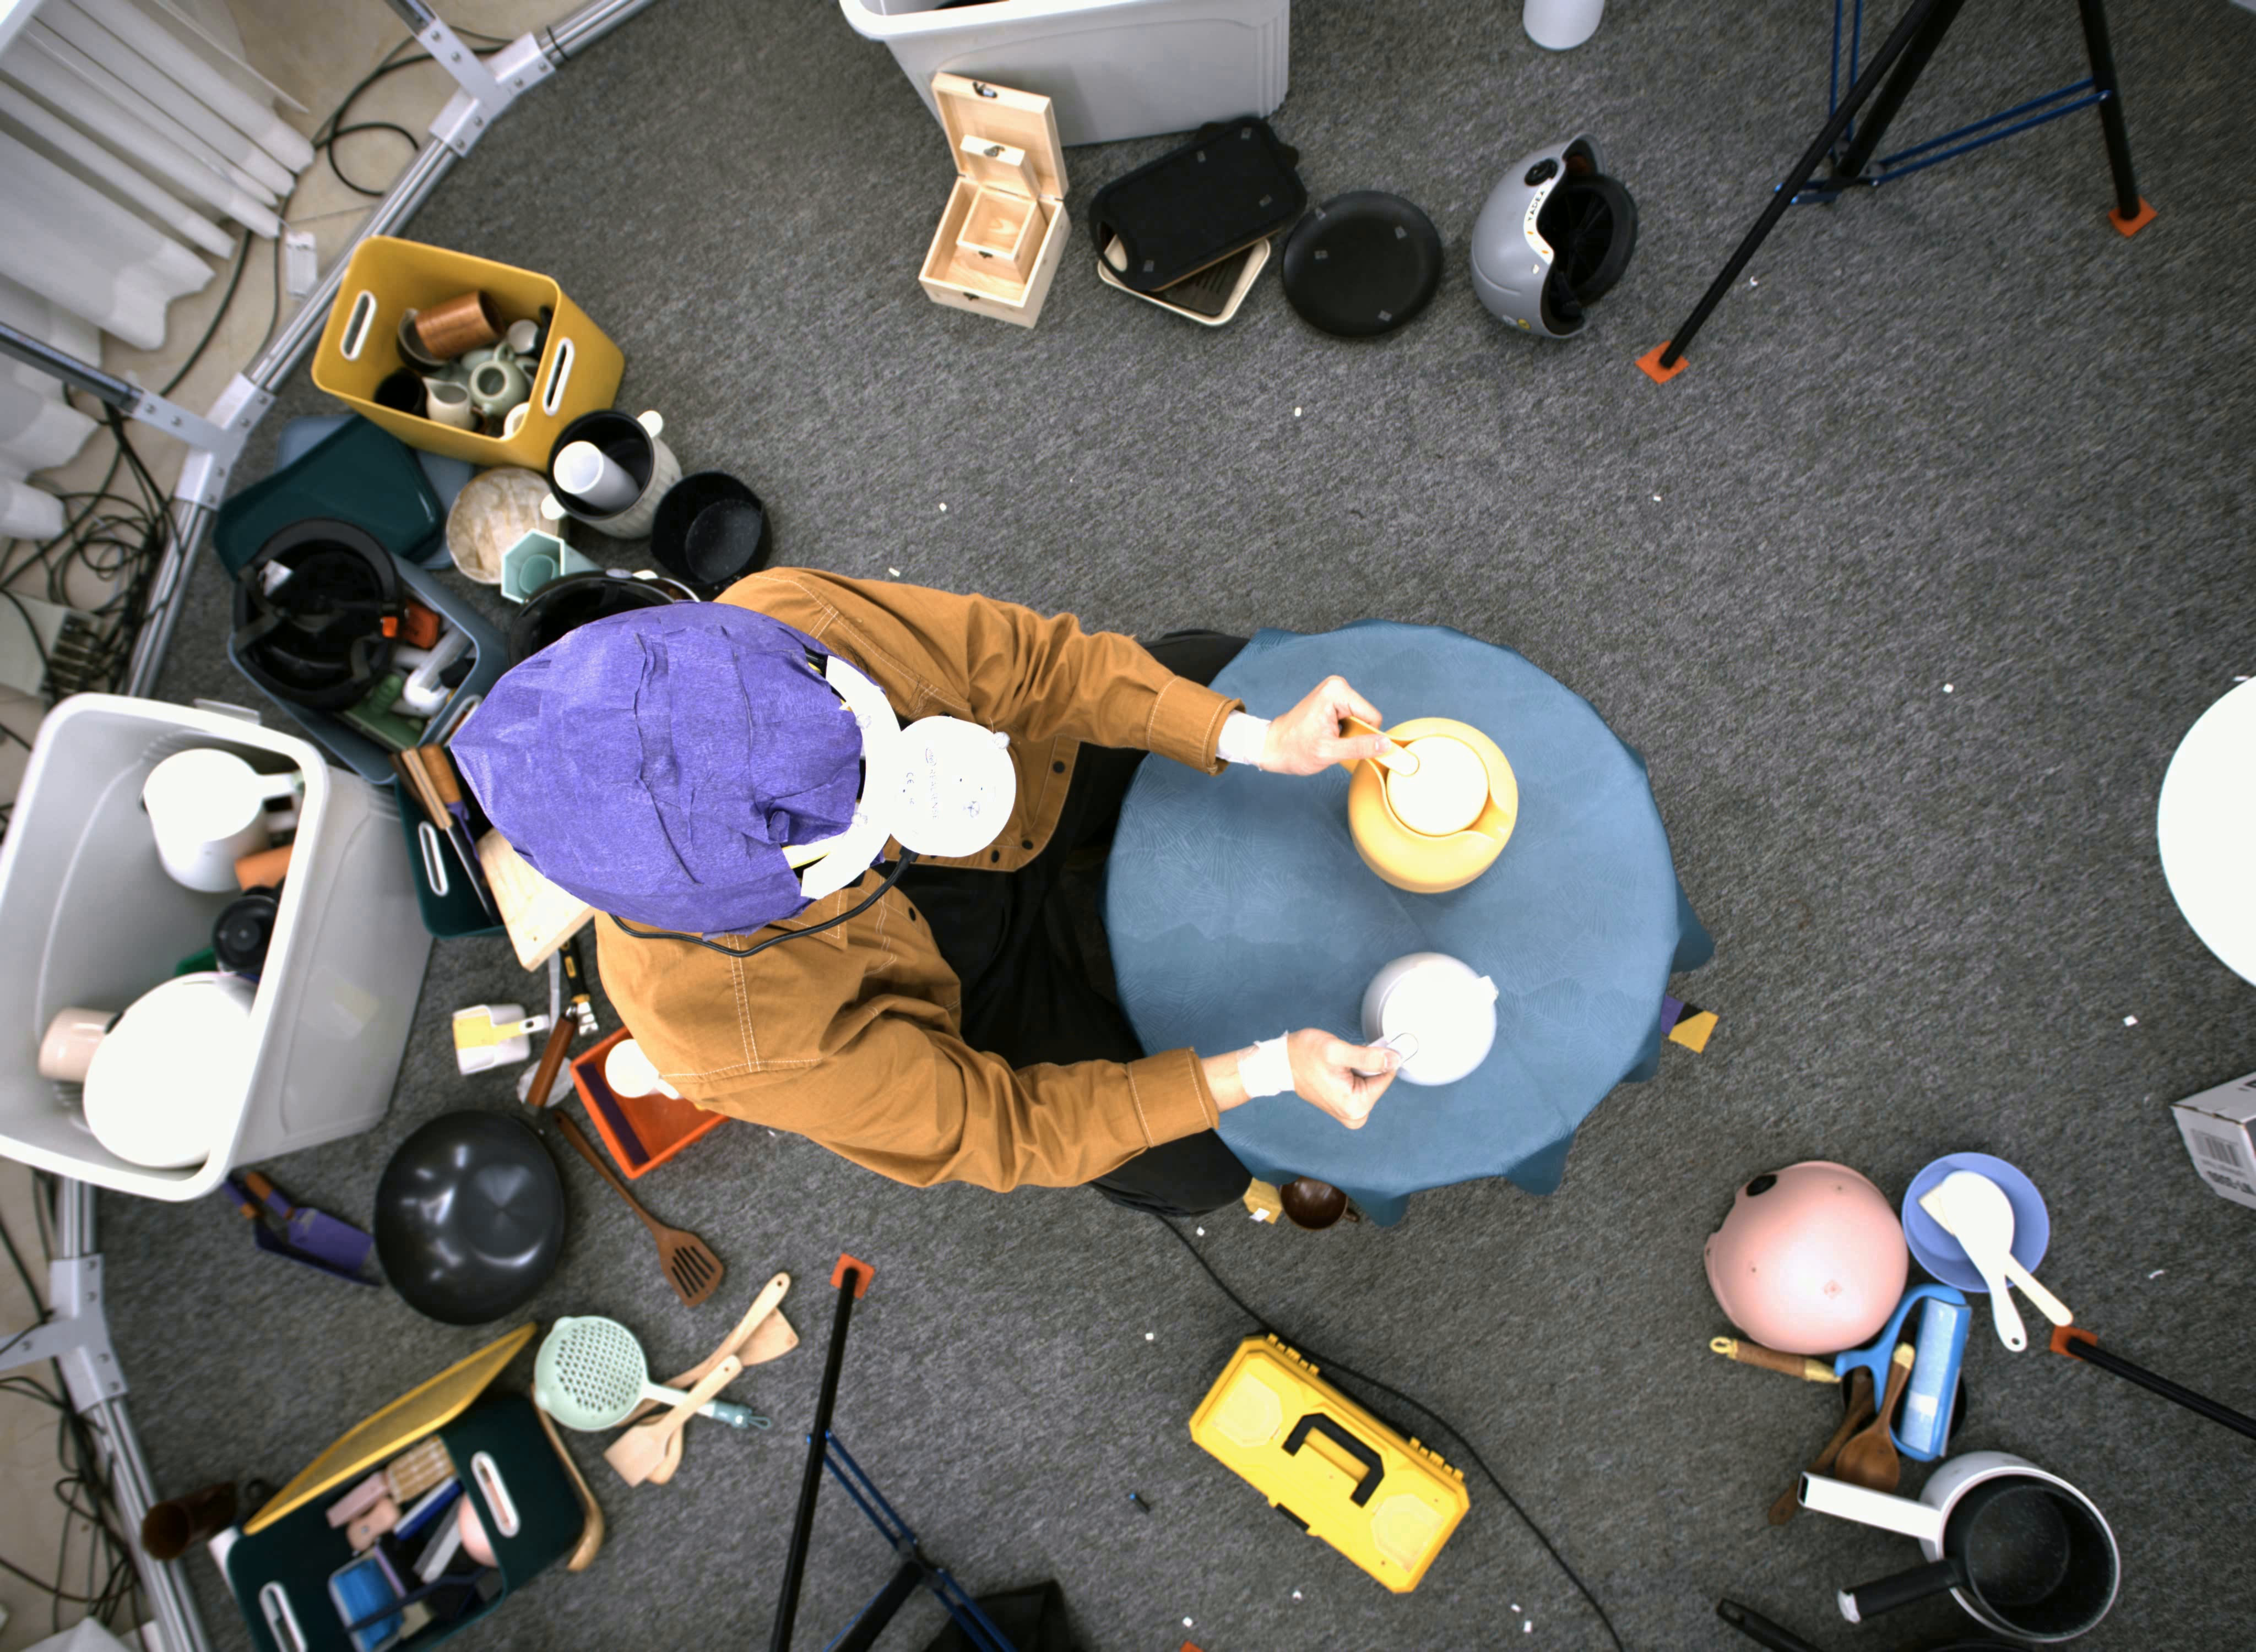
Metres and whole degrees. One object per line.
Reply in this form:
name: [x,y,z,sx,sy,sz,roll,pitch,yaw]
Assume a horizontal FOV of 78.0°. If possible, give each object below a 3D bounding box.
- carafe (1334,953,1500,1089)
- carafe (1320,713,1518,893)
carafe: [0.275,0.196,1.328,0.168,0.249,0.132,-34,81,6]
carafe: [0.278,-0.035,1.333,0.202,0.261,0.163,36,90,10]
